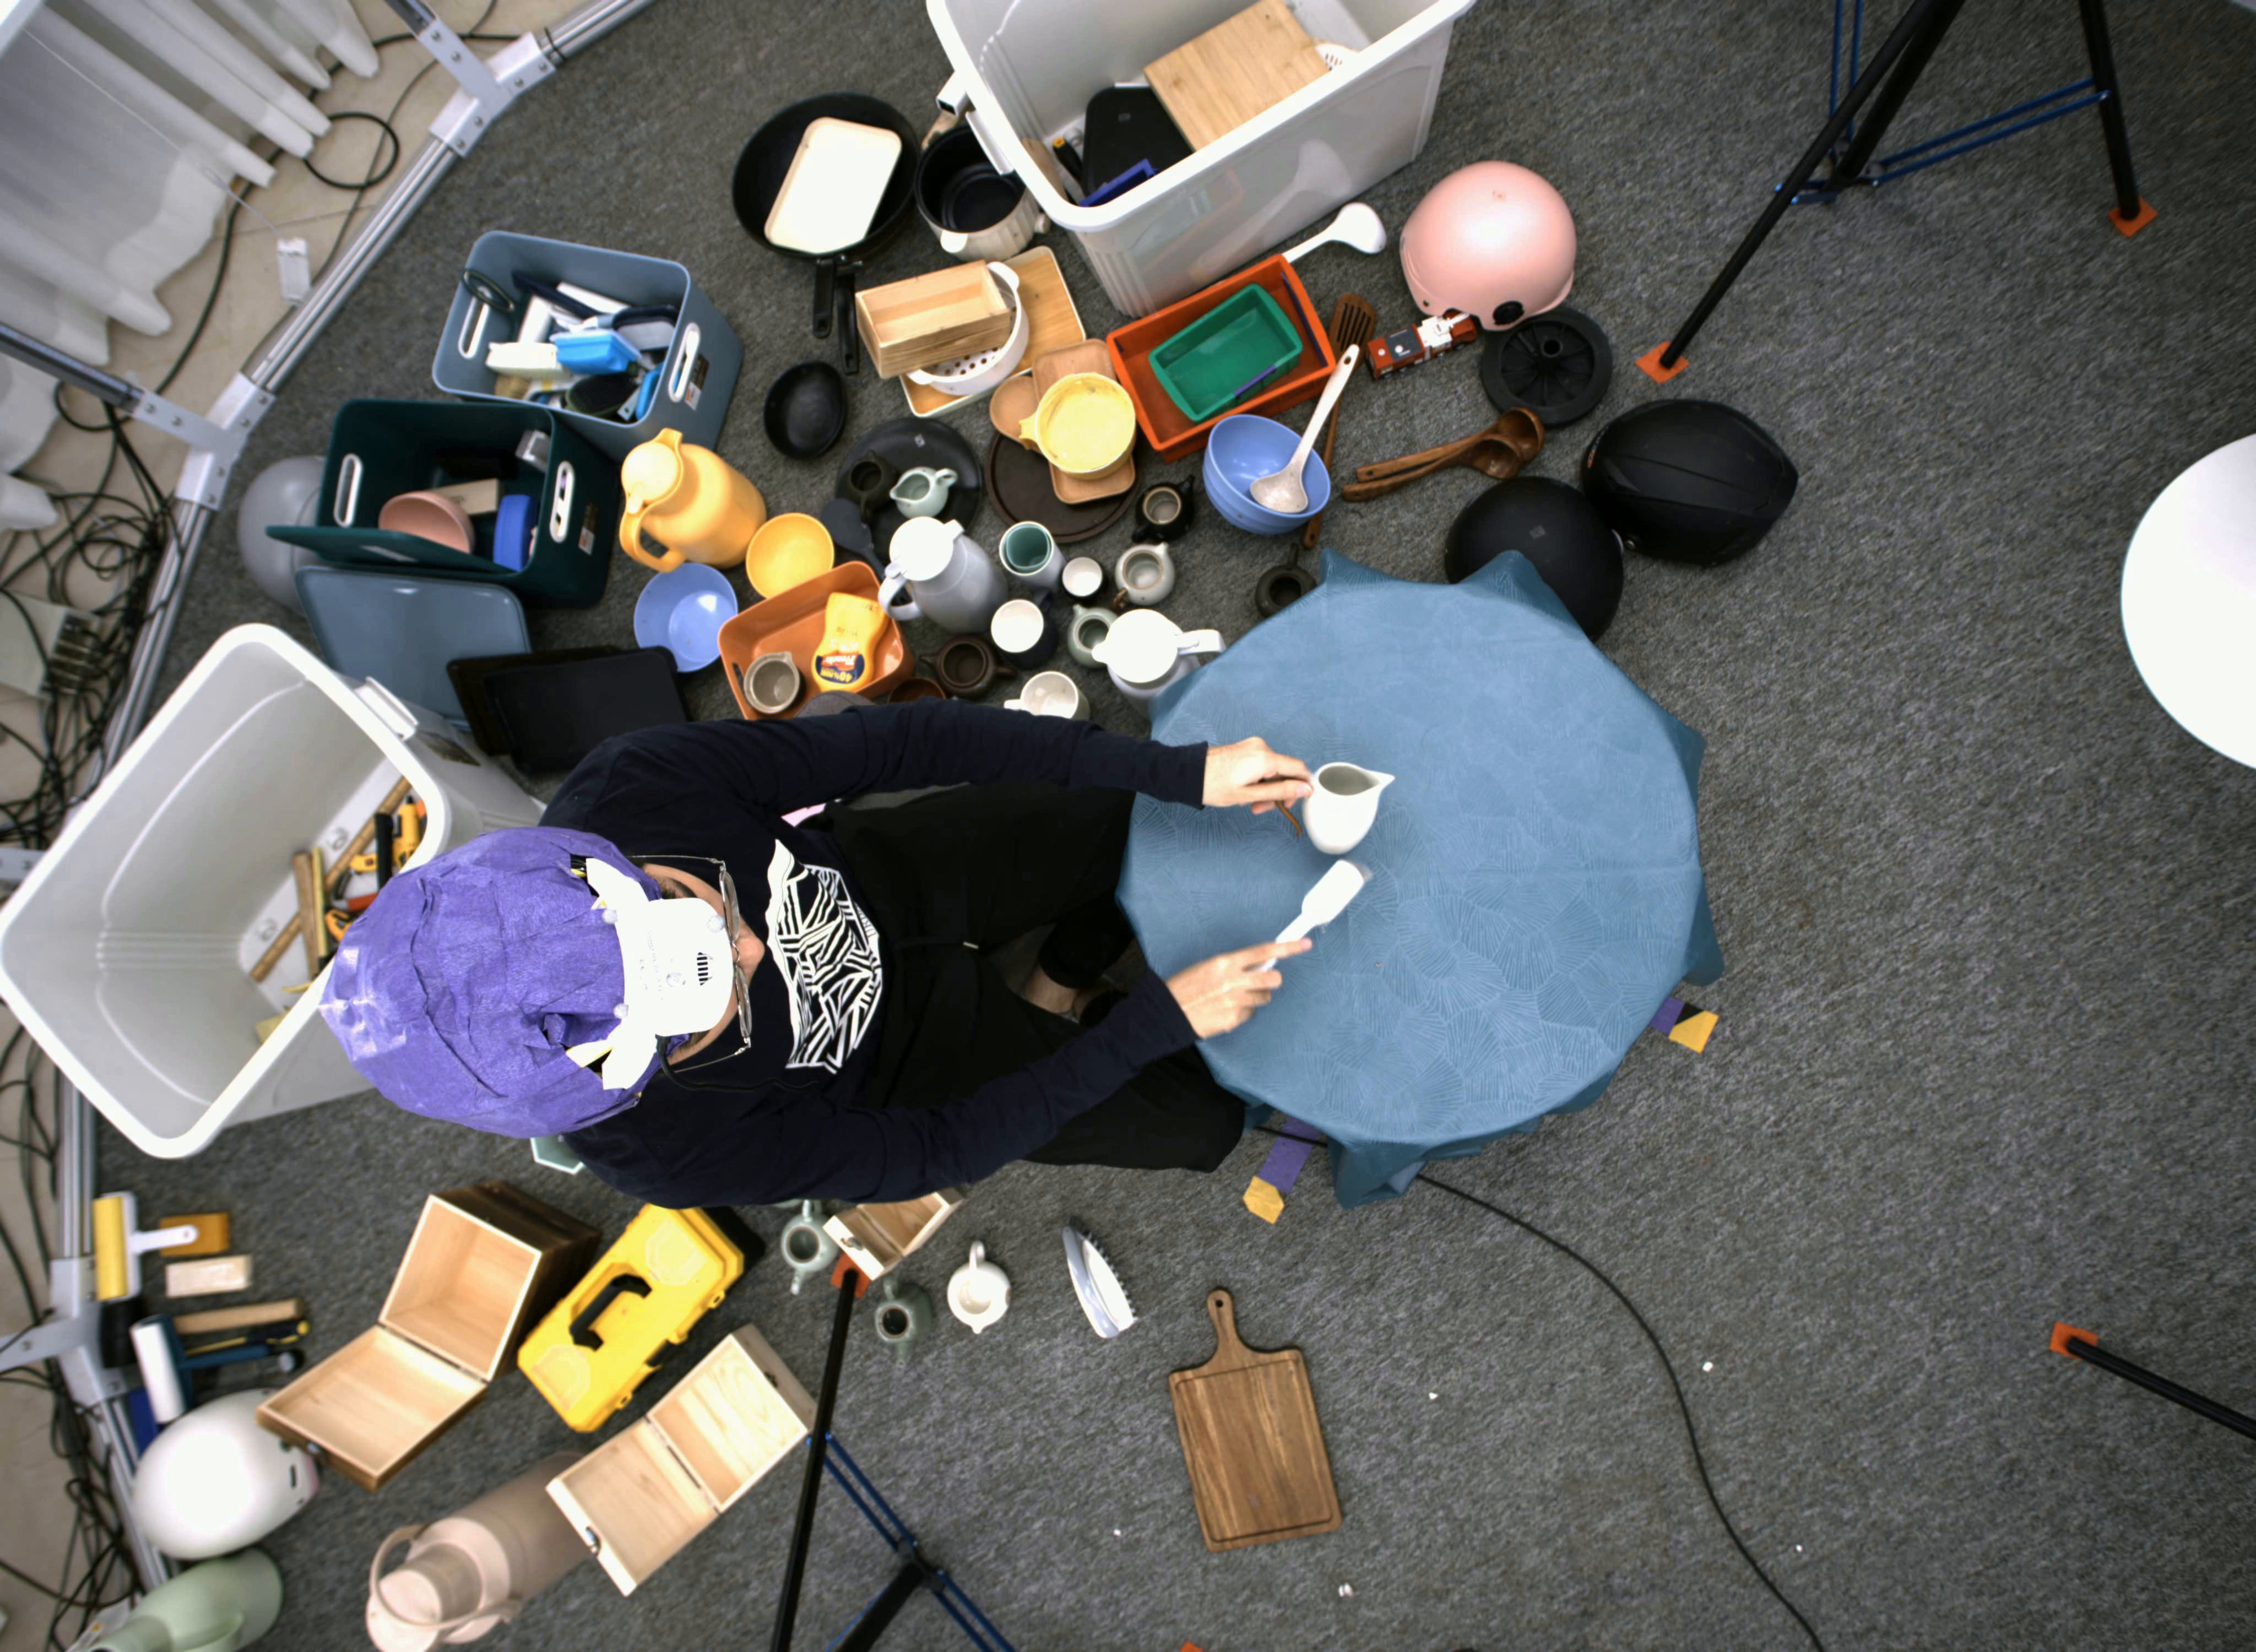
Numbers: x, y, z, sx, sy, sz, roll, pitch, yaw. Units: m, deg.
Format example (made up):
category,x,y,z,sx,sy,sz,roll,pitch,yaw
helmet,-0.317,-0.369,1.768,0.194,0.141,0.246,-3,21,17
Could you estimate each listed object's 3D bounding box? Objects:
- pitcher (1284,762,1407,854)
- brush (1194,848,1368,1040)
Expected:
category,x,y,z,sx,sy,sz,roll,pitch,yaw
pitcher,0.214,-0.020,1.395,0.119,0.074,0.090,6,133,-3
brush,0.153,0.120,1.403,0.034,0.050,0.246,41,101,7
